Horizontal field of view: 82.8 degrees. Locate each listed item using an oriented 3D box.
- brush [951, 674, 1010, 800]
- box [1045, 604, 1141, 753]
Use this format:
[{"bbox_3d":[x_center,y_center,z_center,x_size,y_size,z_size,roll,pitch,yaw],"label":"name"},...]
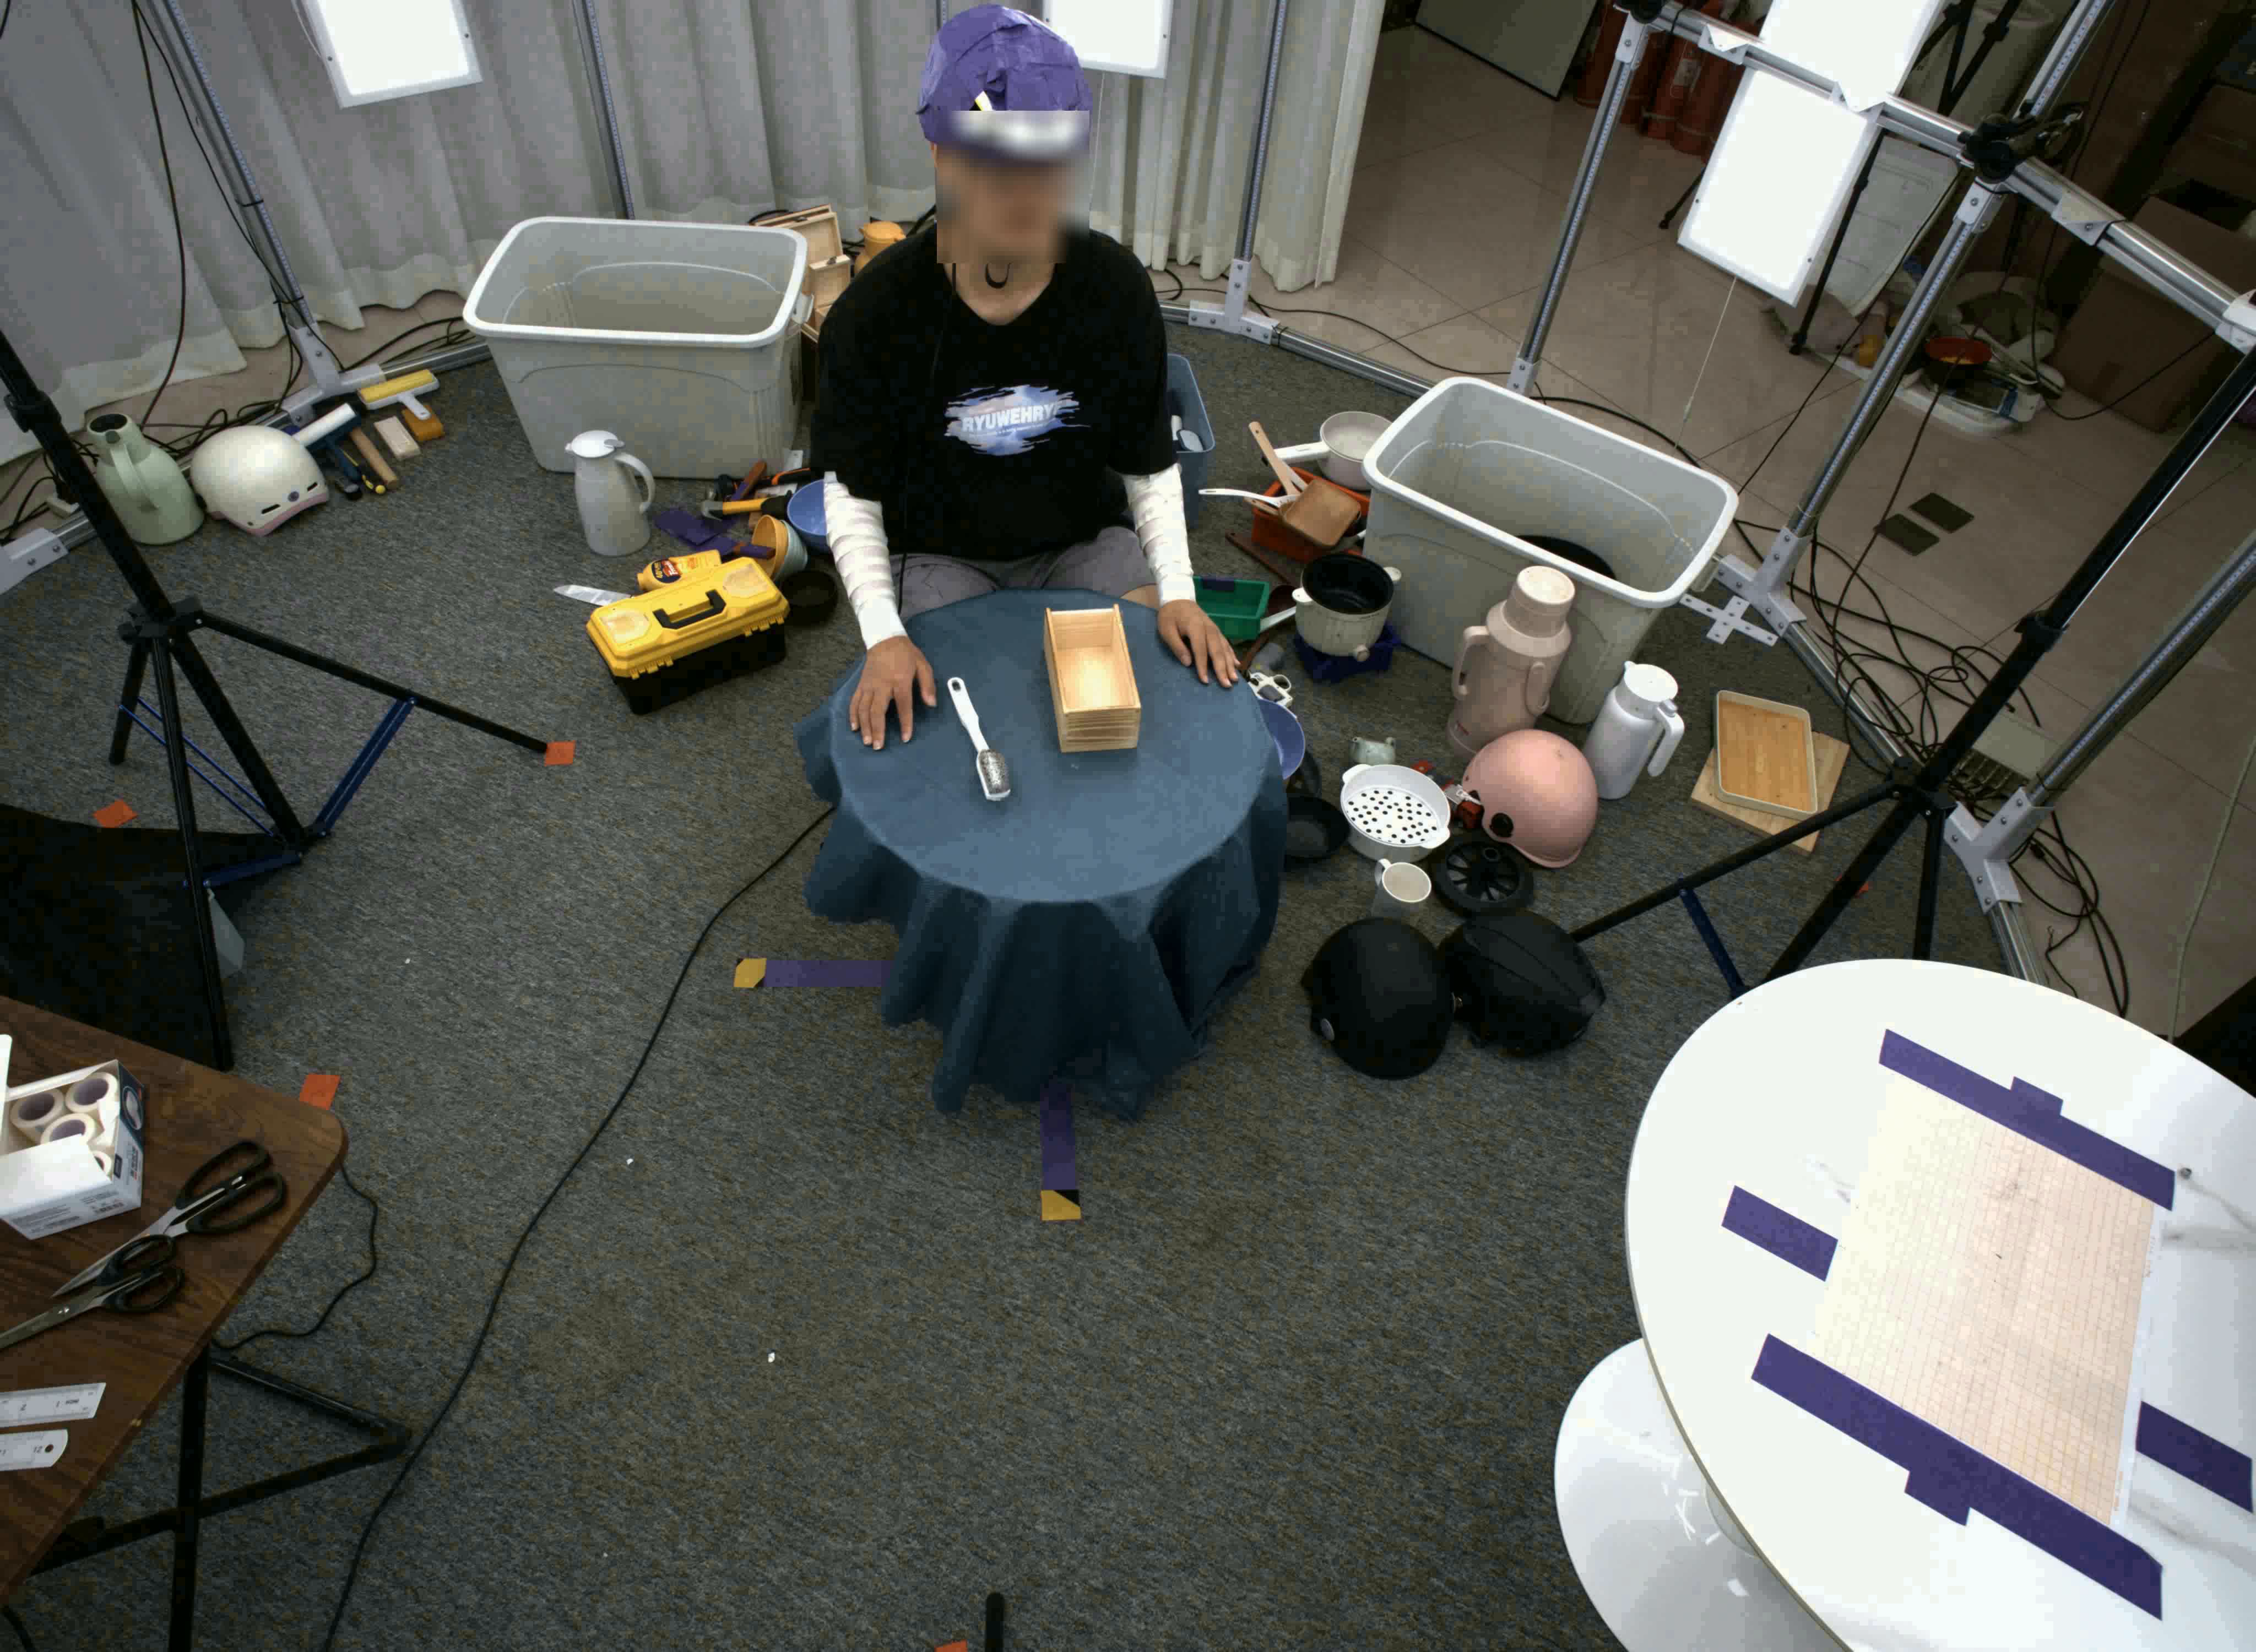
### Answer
[{"bbox_3d":[-0.204,-0.133,1.744,0.034,0.049,0.249,-11,52,-14],"label":"brush"},{"bbox_3d":[-0.052,-0.209,1.799,0.107,0.078,0.217,-5,49,-8],"label":"box"}]
